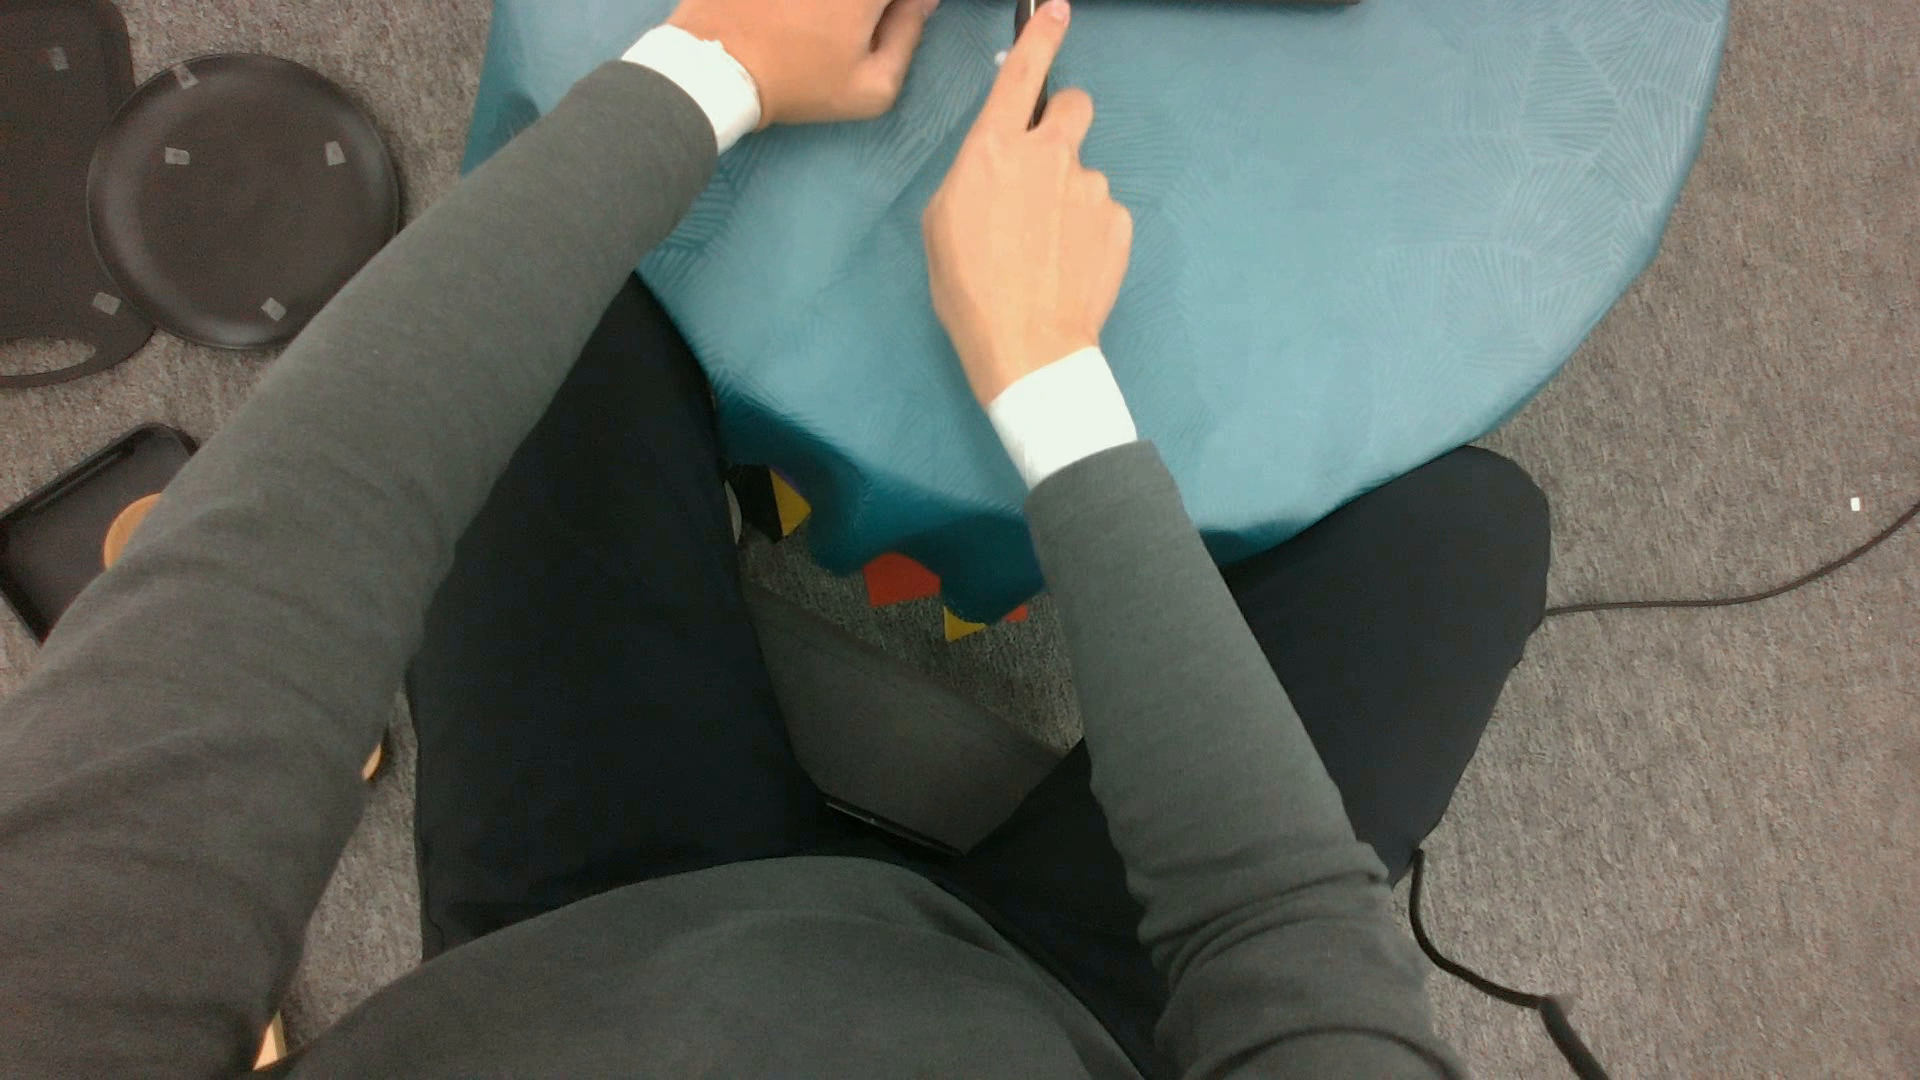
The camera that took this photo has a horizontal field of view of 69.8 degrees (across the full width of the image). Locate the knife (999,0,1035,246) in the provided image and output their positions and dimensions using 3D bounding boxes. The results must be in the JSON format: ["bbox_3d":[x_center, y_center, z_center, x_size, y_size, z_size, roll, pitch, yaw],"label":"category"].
[{"bbox_3d":[0.025,-0.250,0.620,0.016,0.024,0.238,-1,82,5],"label":"knife"}]
